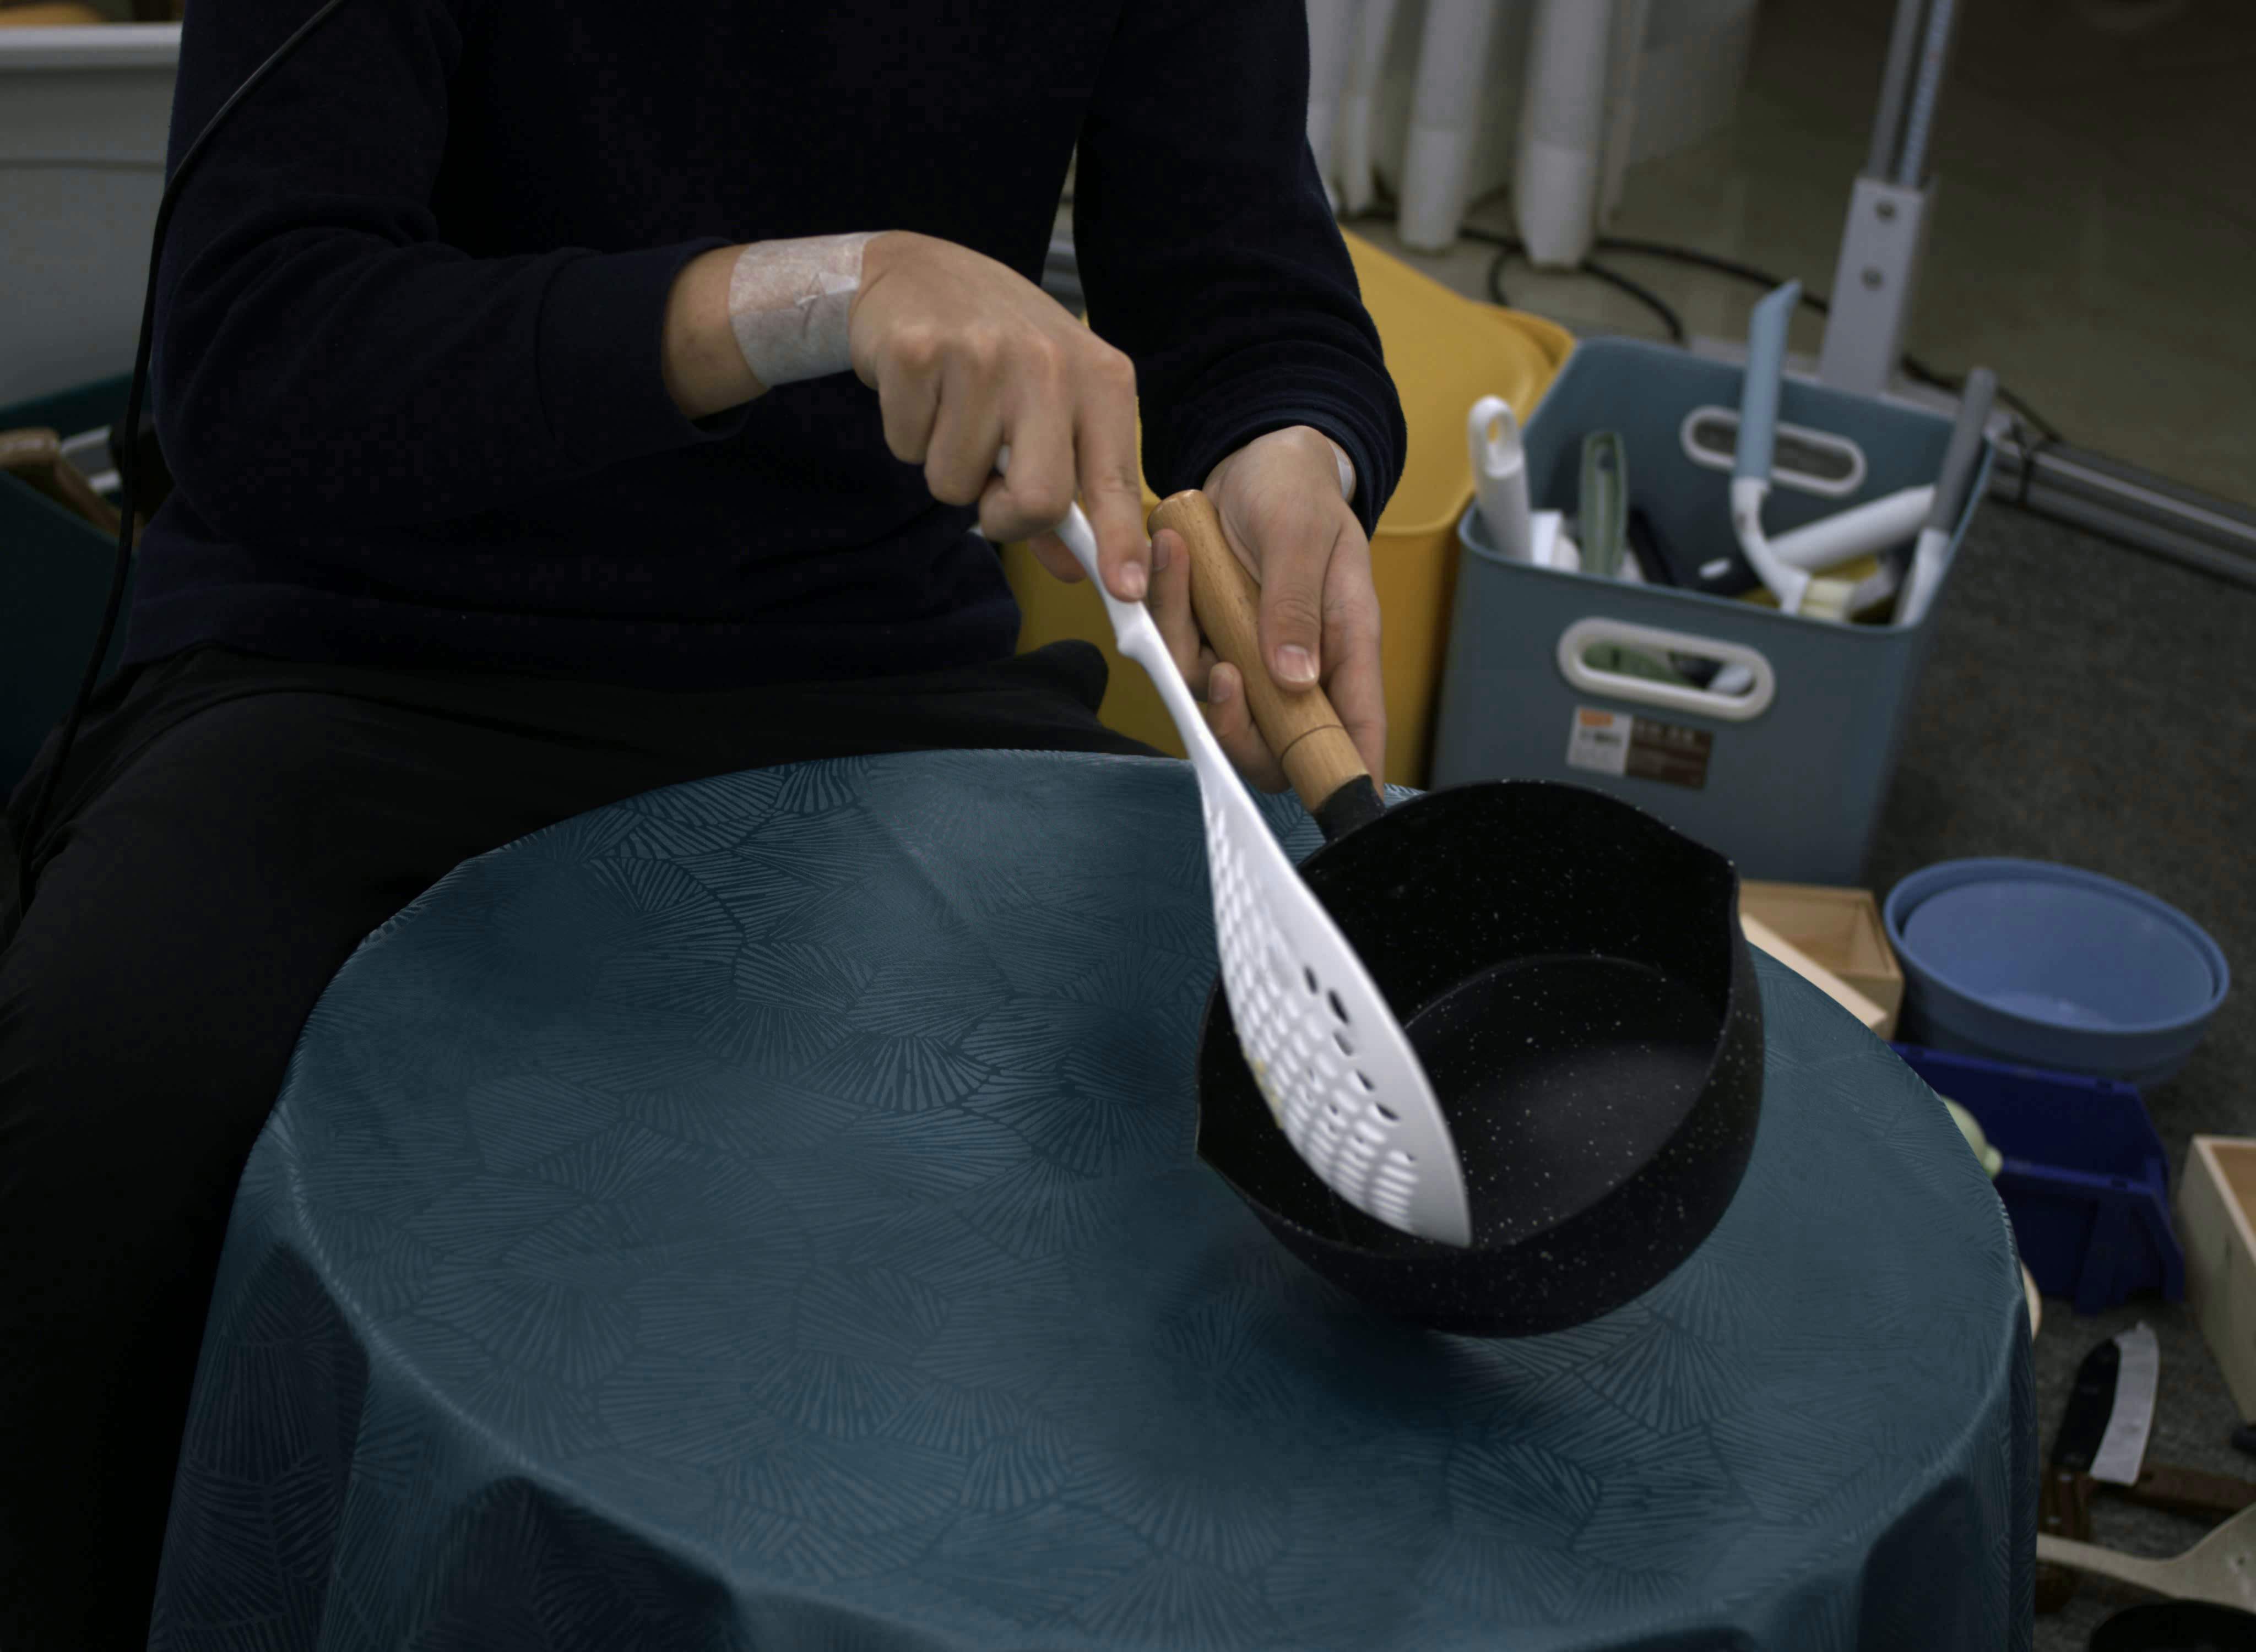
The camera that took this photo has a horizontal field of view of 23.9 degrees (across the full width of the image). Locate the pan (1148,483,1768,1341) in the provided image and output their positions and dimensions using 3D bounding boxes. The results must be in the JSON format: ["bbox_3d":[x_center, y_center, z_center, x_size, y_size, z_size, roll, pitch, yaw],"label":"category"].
[{"bbox_3d":[0.089,0.025,1.787,0.207,0.107,0.346,-31,49,2],"label":"pan"}]

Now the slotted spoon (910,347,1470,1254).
[{"bbox_3d":[0.017,-0.014,1.695,0.050,0.136,0.350,-23,68,-3],"label":"slotted spoon"}]
